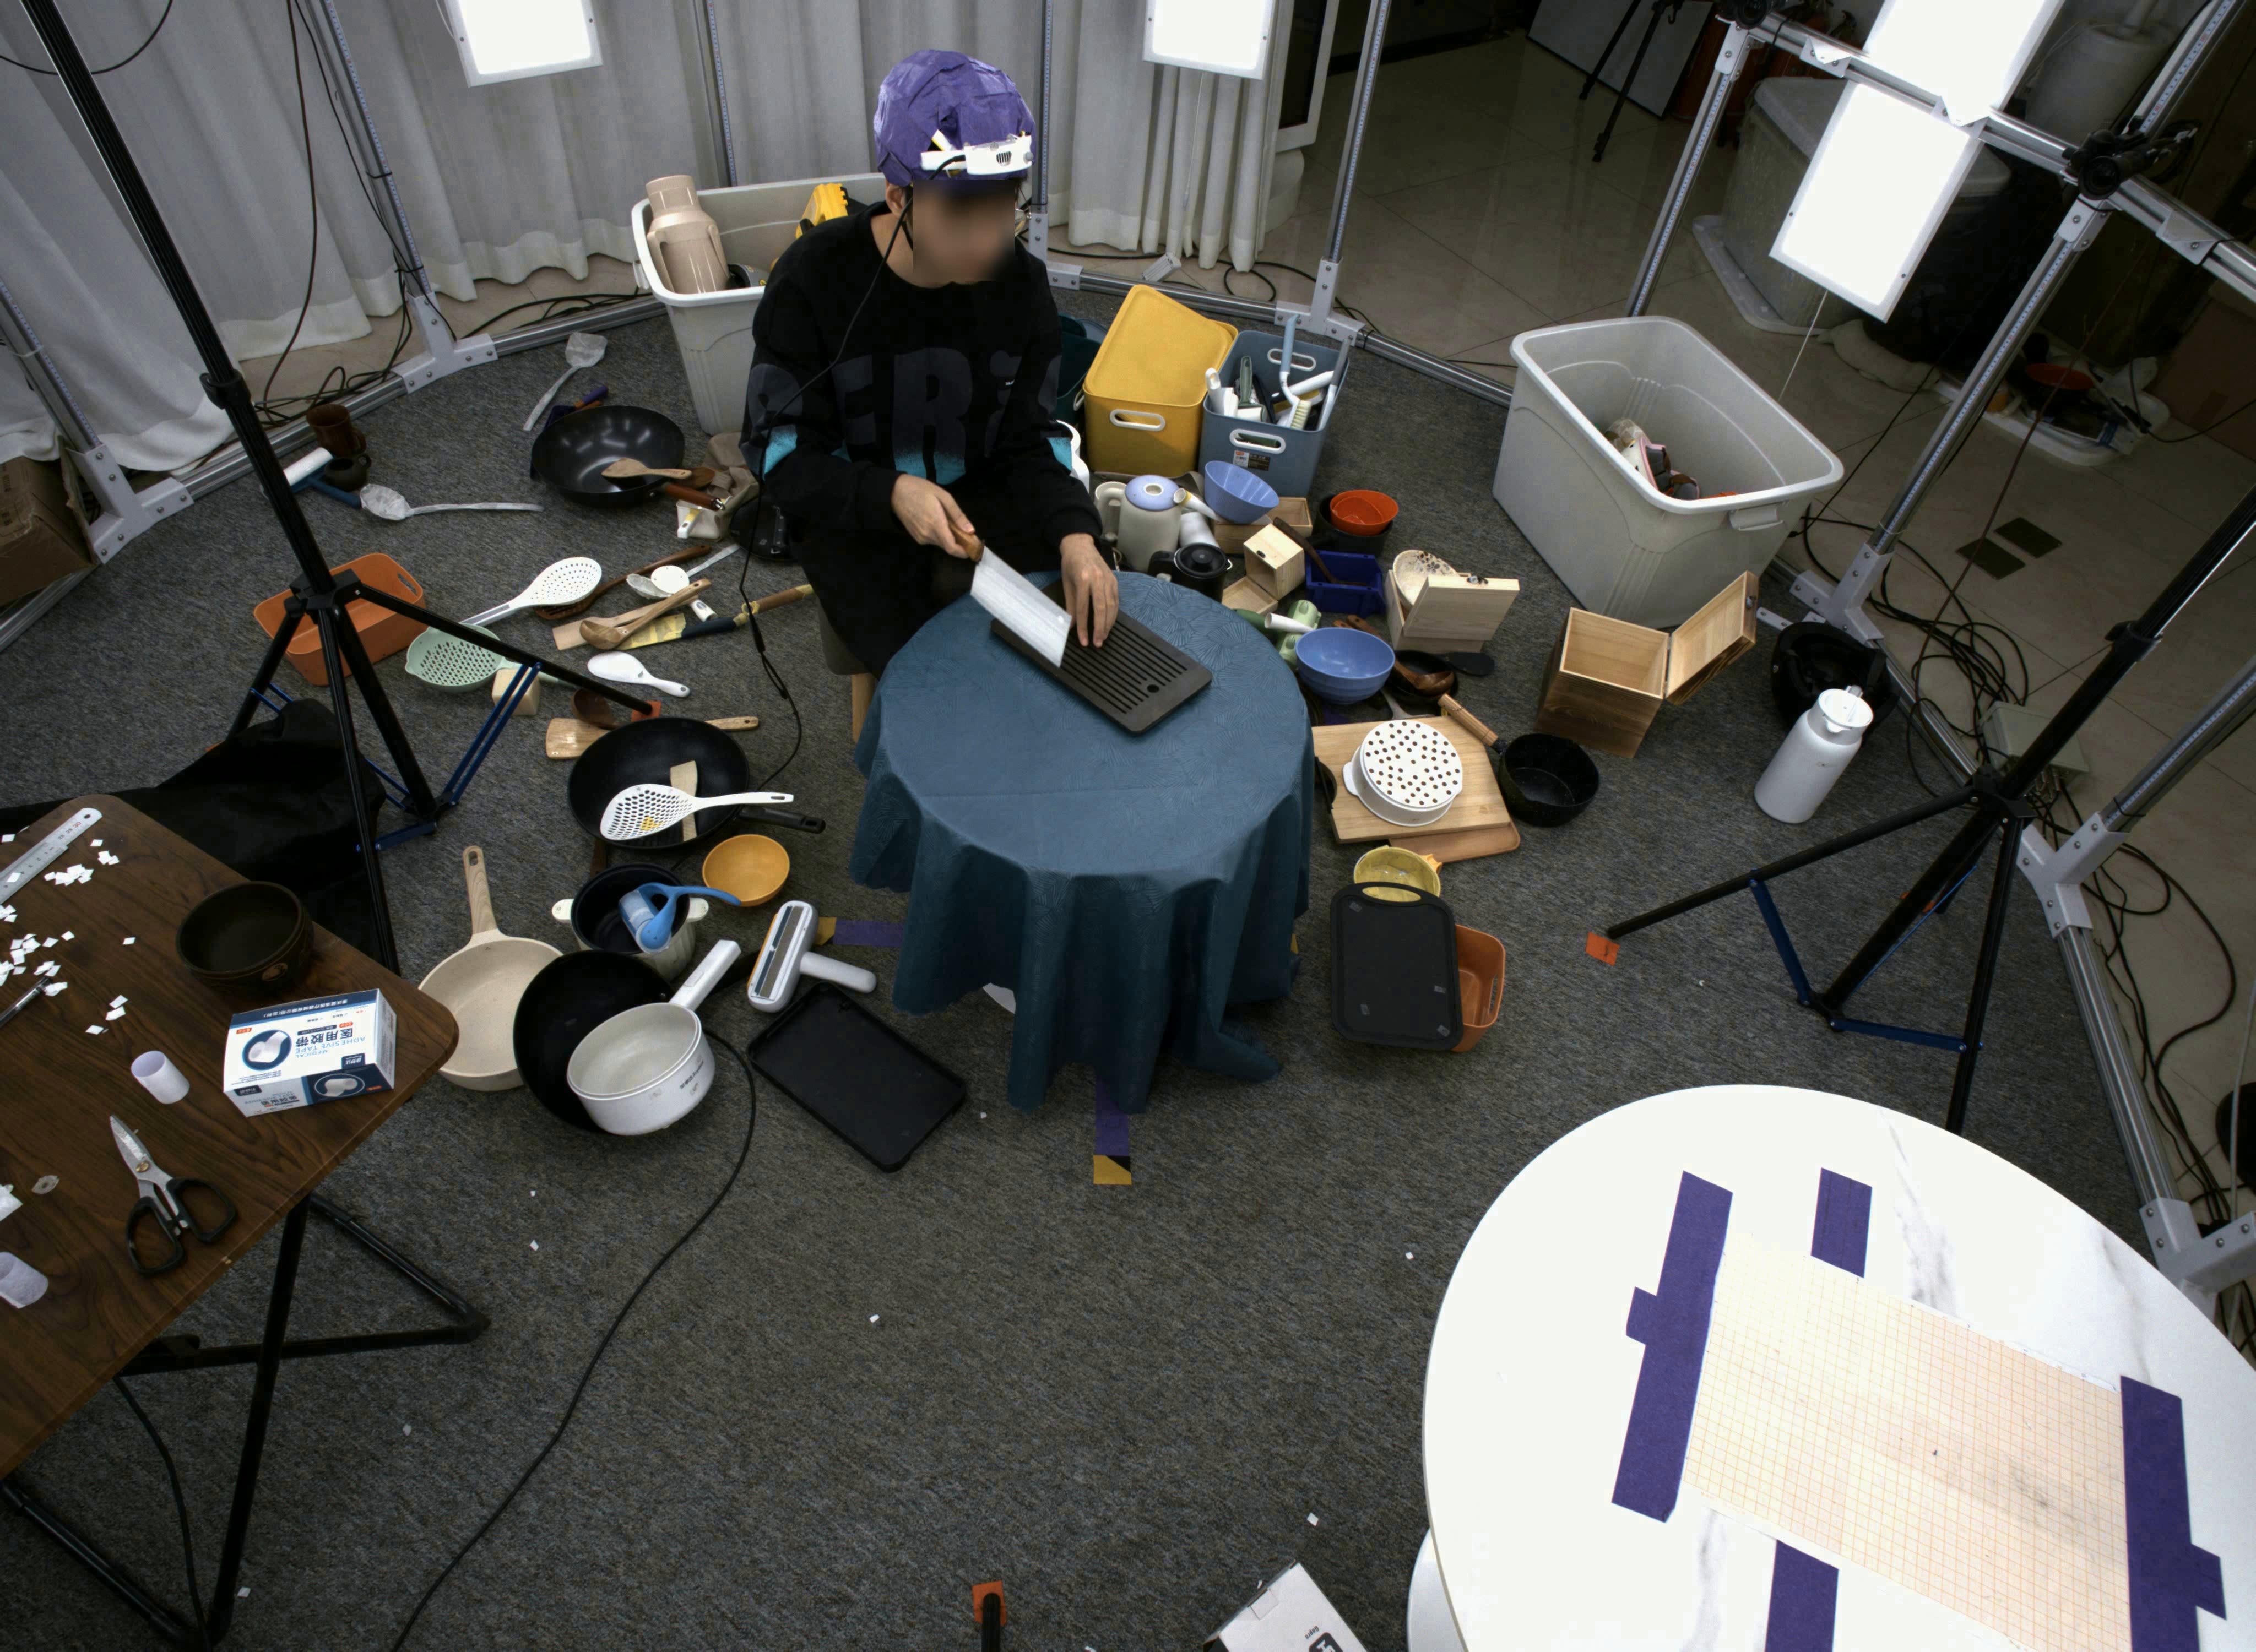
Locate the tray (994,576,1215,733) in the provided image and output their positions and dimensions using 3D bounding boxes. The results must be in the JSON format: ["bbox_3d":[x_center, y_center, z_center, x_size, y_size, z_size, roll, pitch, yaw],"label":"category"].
[{"bbox_3d":[-0.036,-0.254,1.875,0.310,0.018,0.171,38,57,26],"label":"tray"}]

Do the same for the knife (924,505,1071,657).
[{"bbox_3d":[-0.187,-0.340,1.803,0.021,0.091,0.310,-27,57,-39],"label":"knife"}]
